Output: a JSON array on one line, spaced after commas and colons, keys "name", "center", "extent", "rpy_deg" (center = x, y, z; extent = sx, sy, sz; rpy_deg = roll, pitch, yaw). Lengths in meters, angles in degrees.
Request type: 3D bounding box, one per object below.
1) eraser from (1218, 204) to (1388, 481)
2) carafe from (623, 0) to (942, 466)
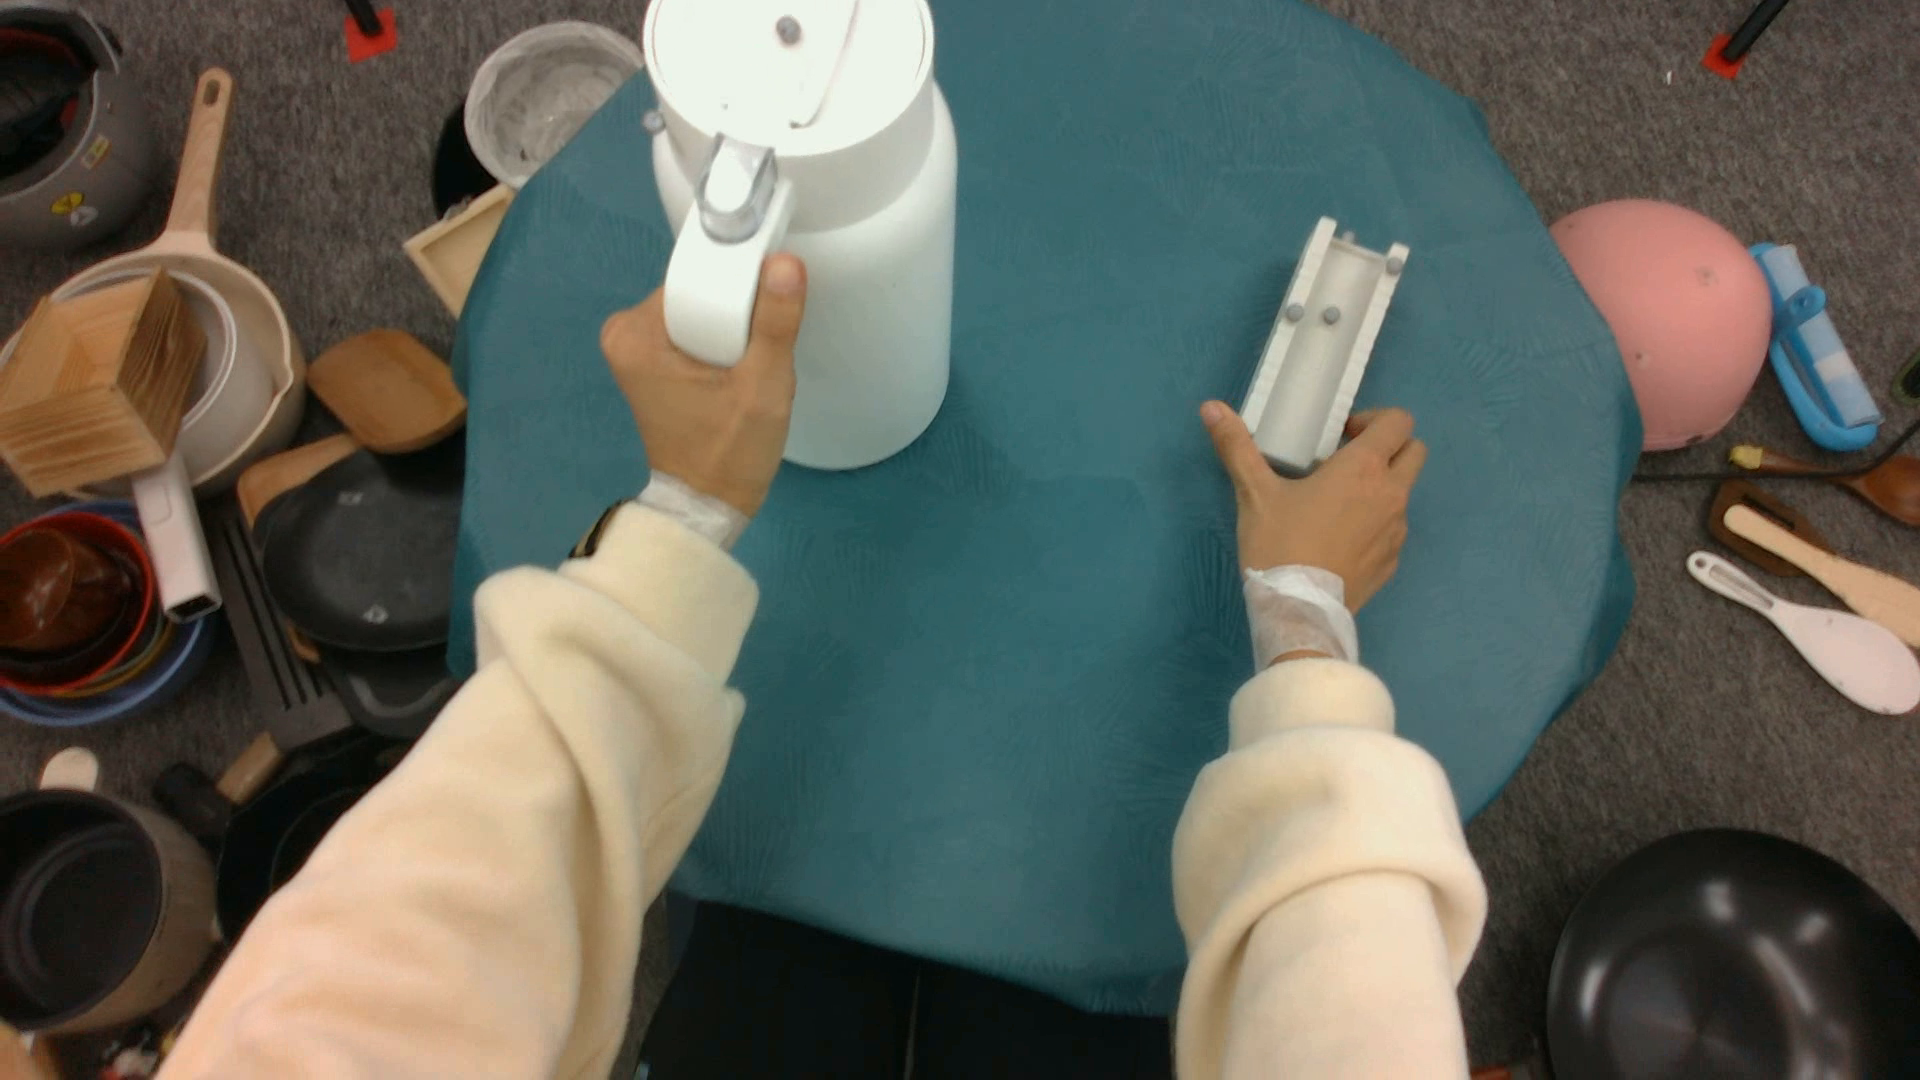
[{"name": "eraser", "center": [0.176, -0.101, 0.712], "extent": [0.050, 0.046, 0.135], "rpy_deg": [21, 71, 0]}, {"name": "carafe", "center": [-0.072, -0.118, 0.588], "extent": [0.124, 0.268, 0.173], "rpy_deg": [17, 71, 1]}]
